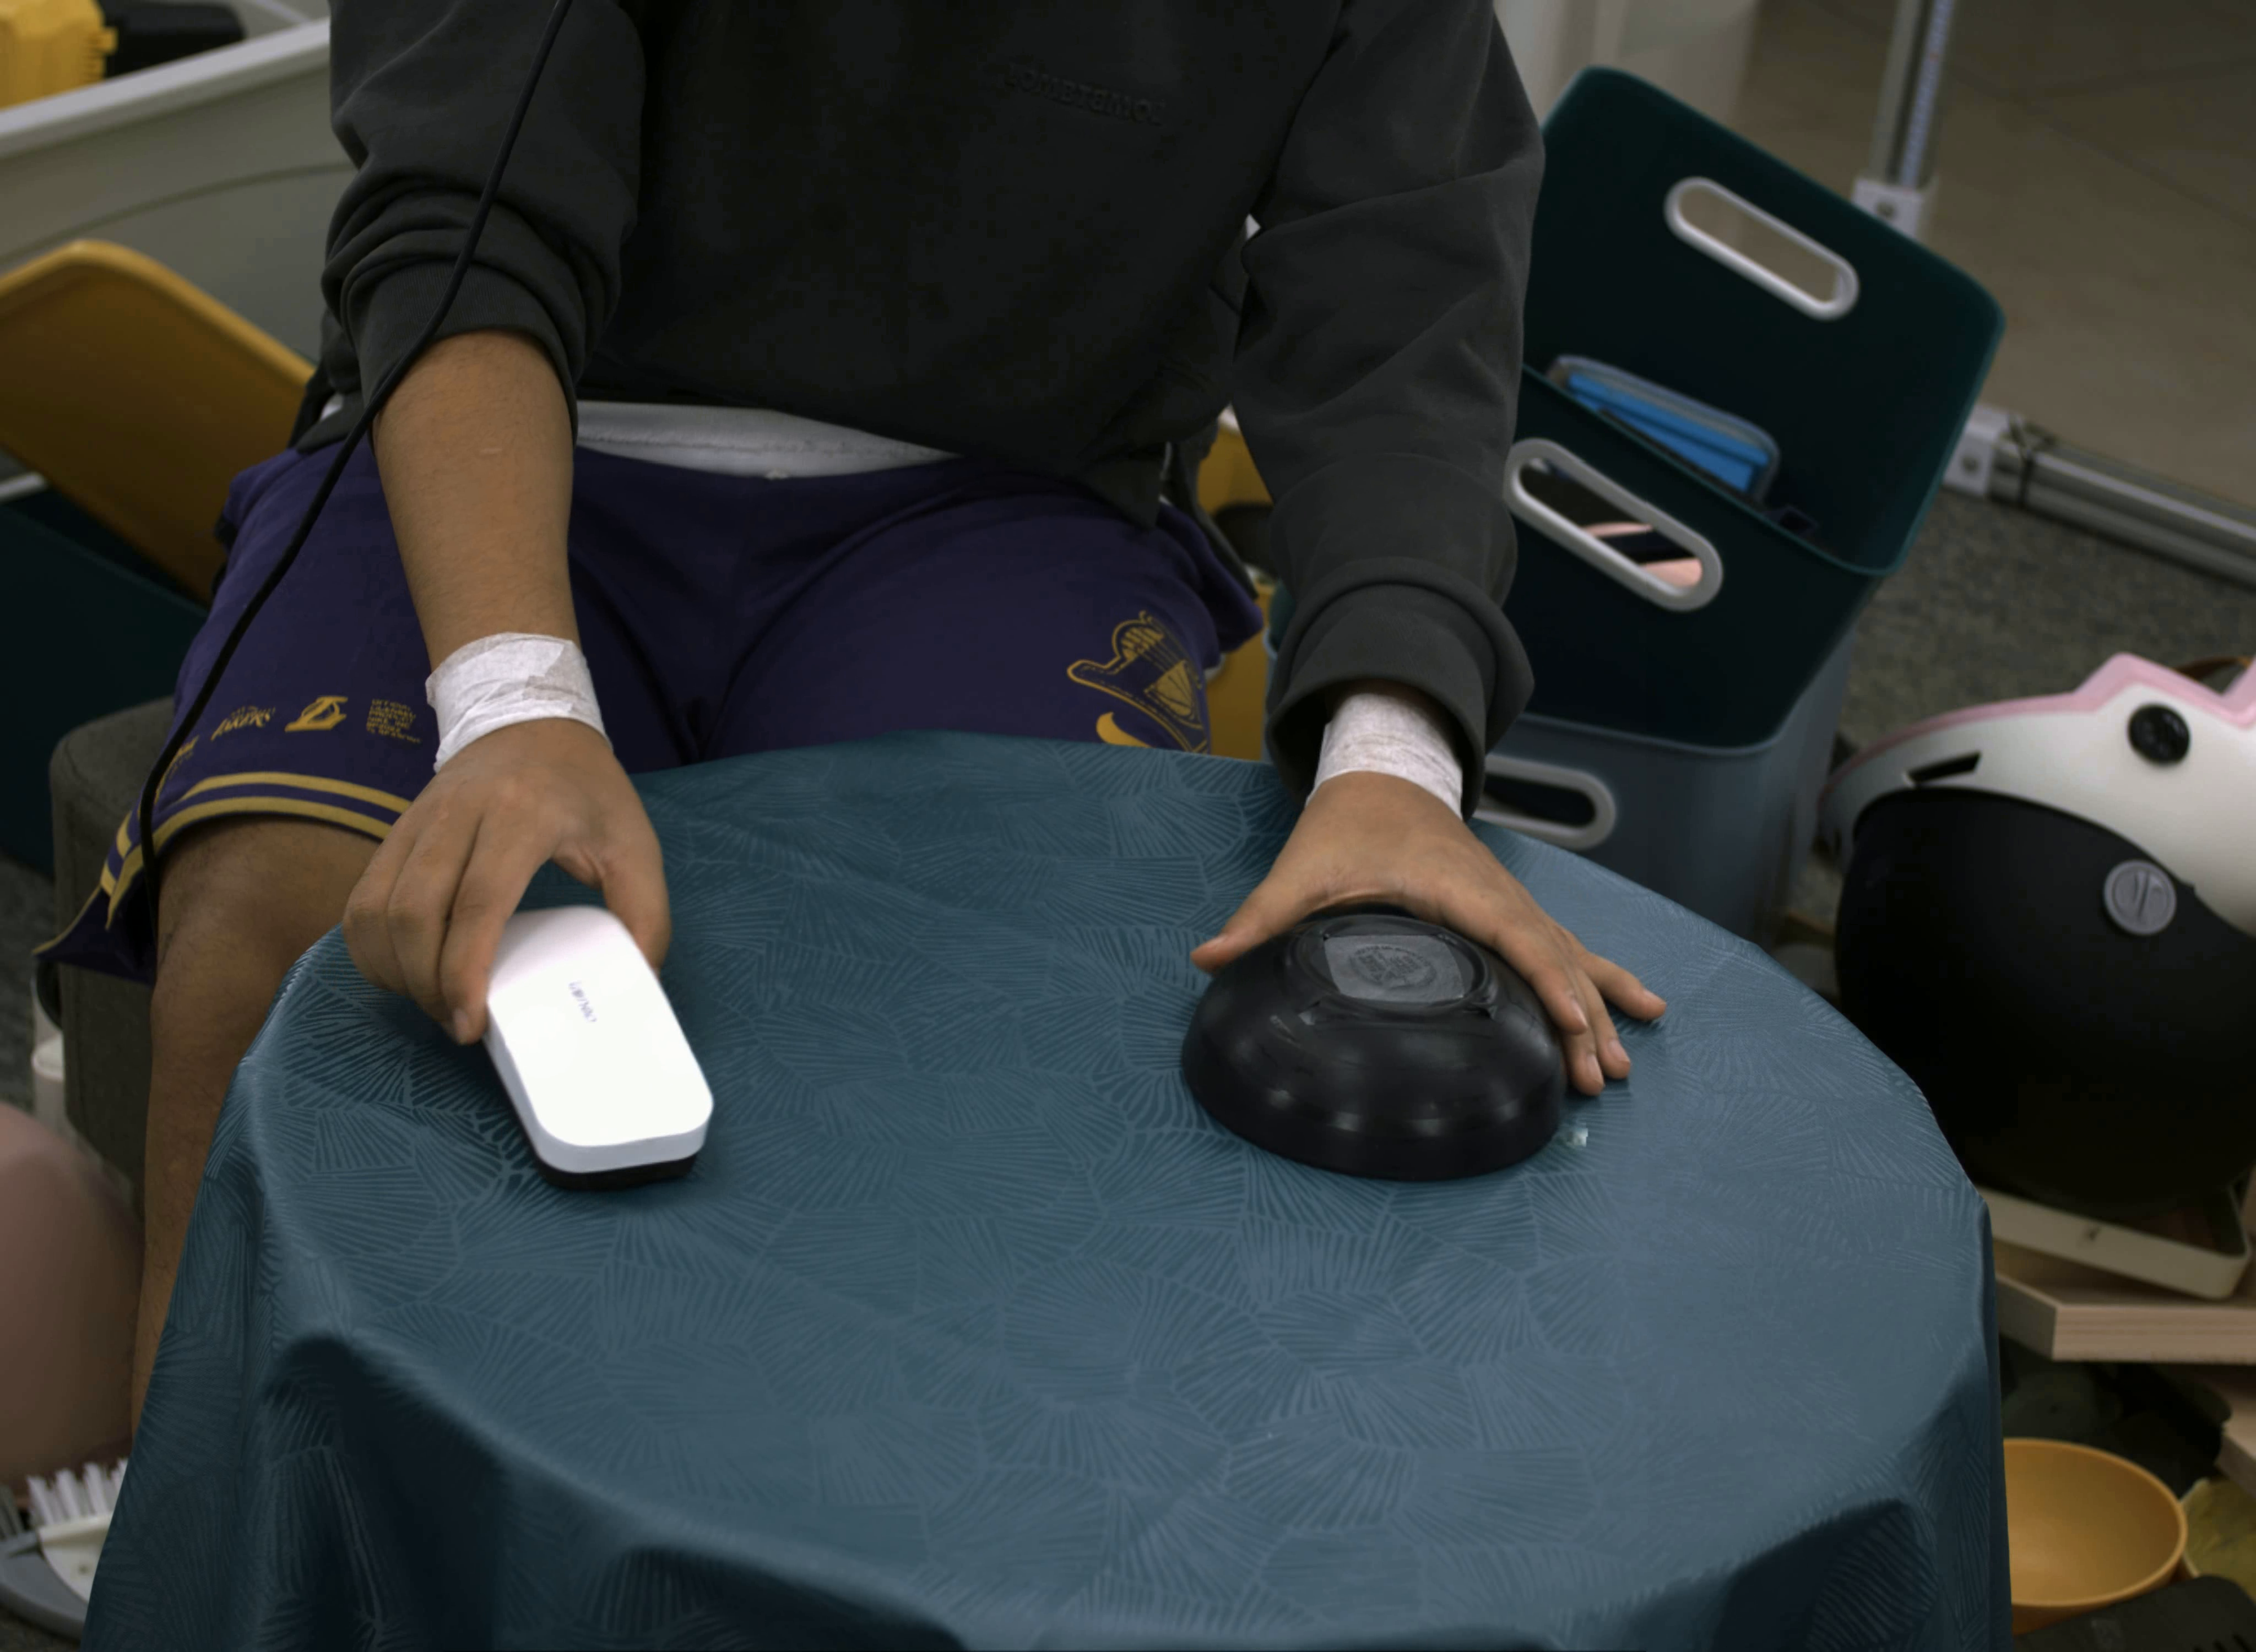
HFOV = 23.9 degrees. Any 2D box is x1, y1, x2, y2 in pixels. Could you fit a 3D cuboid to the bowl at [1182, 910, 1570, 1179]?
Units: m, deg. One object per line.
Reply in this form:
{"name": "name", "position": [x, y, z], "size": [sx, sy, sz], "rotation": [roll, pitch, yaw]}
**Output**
{"name": "bowl", "position": [0.090, 0.067, 1.875], "size": [0.139, 0.049, 0.141], "rotation": [4, 28, -3]}

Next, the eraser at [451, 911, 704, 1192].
{"name": "eraser", "position": [-0.187, 0.073, 1.810], "size": [0.063, 0.034, 0.132], "rotation": [-5, 36, -21]}
